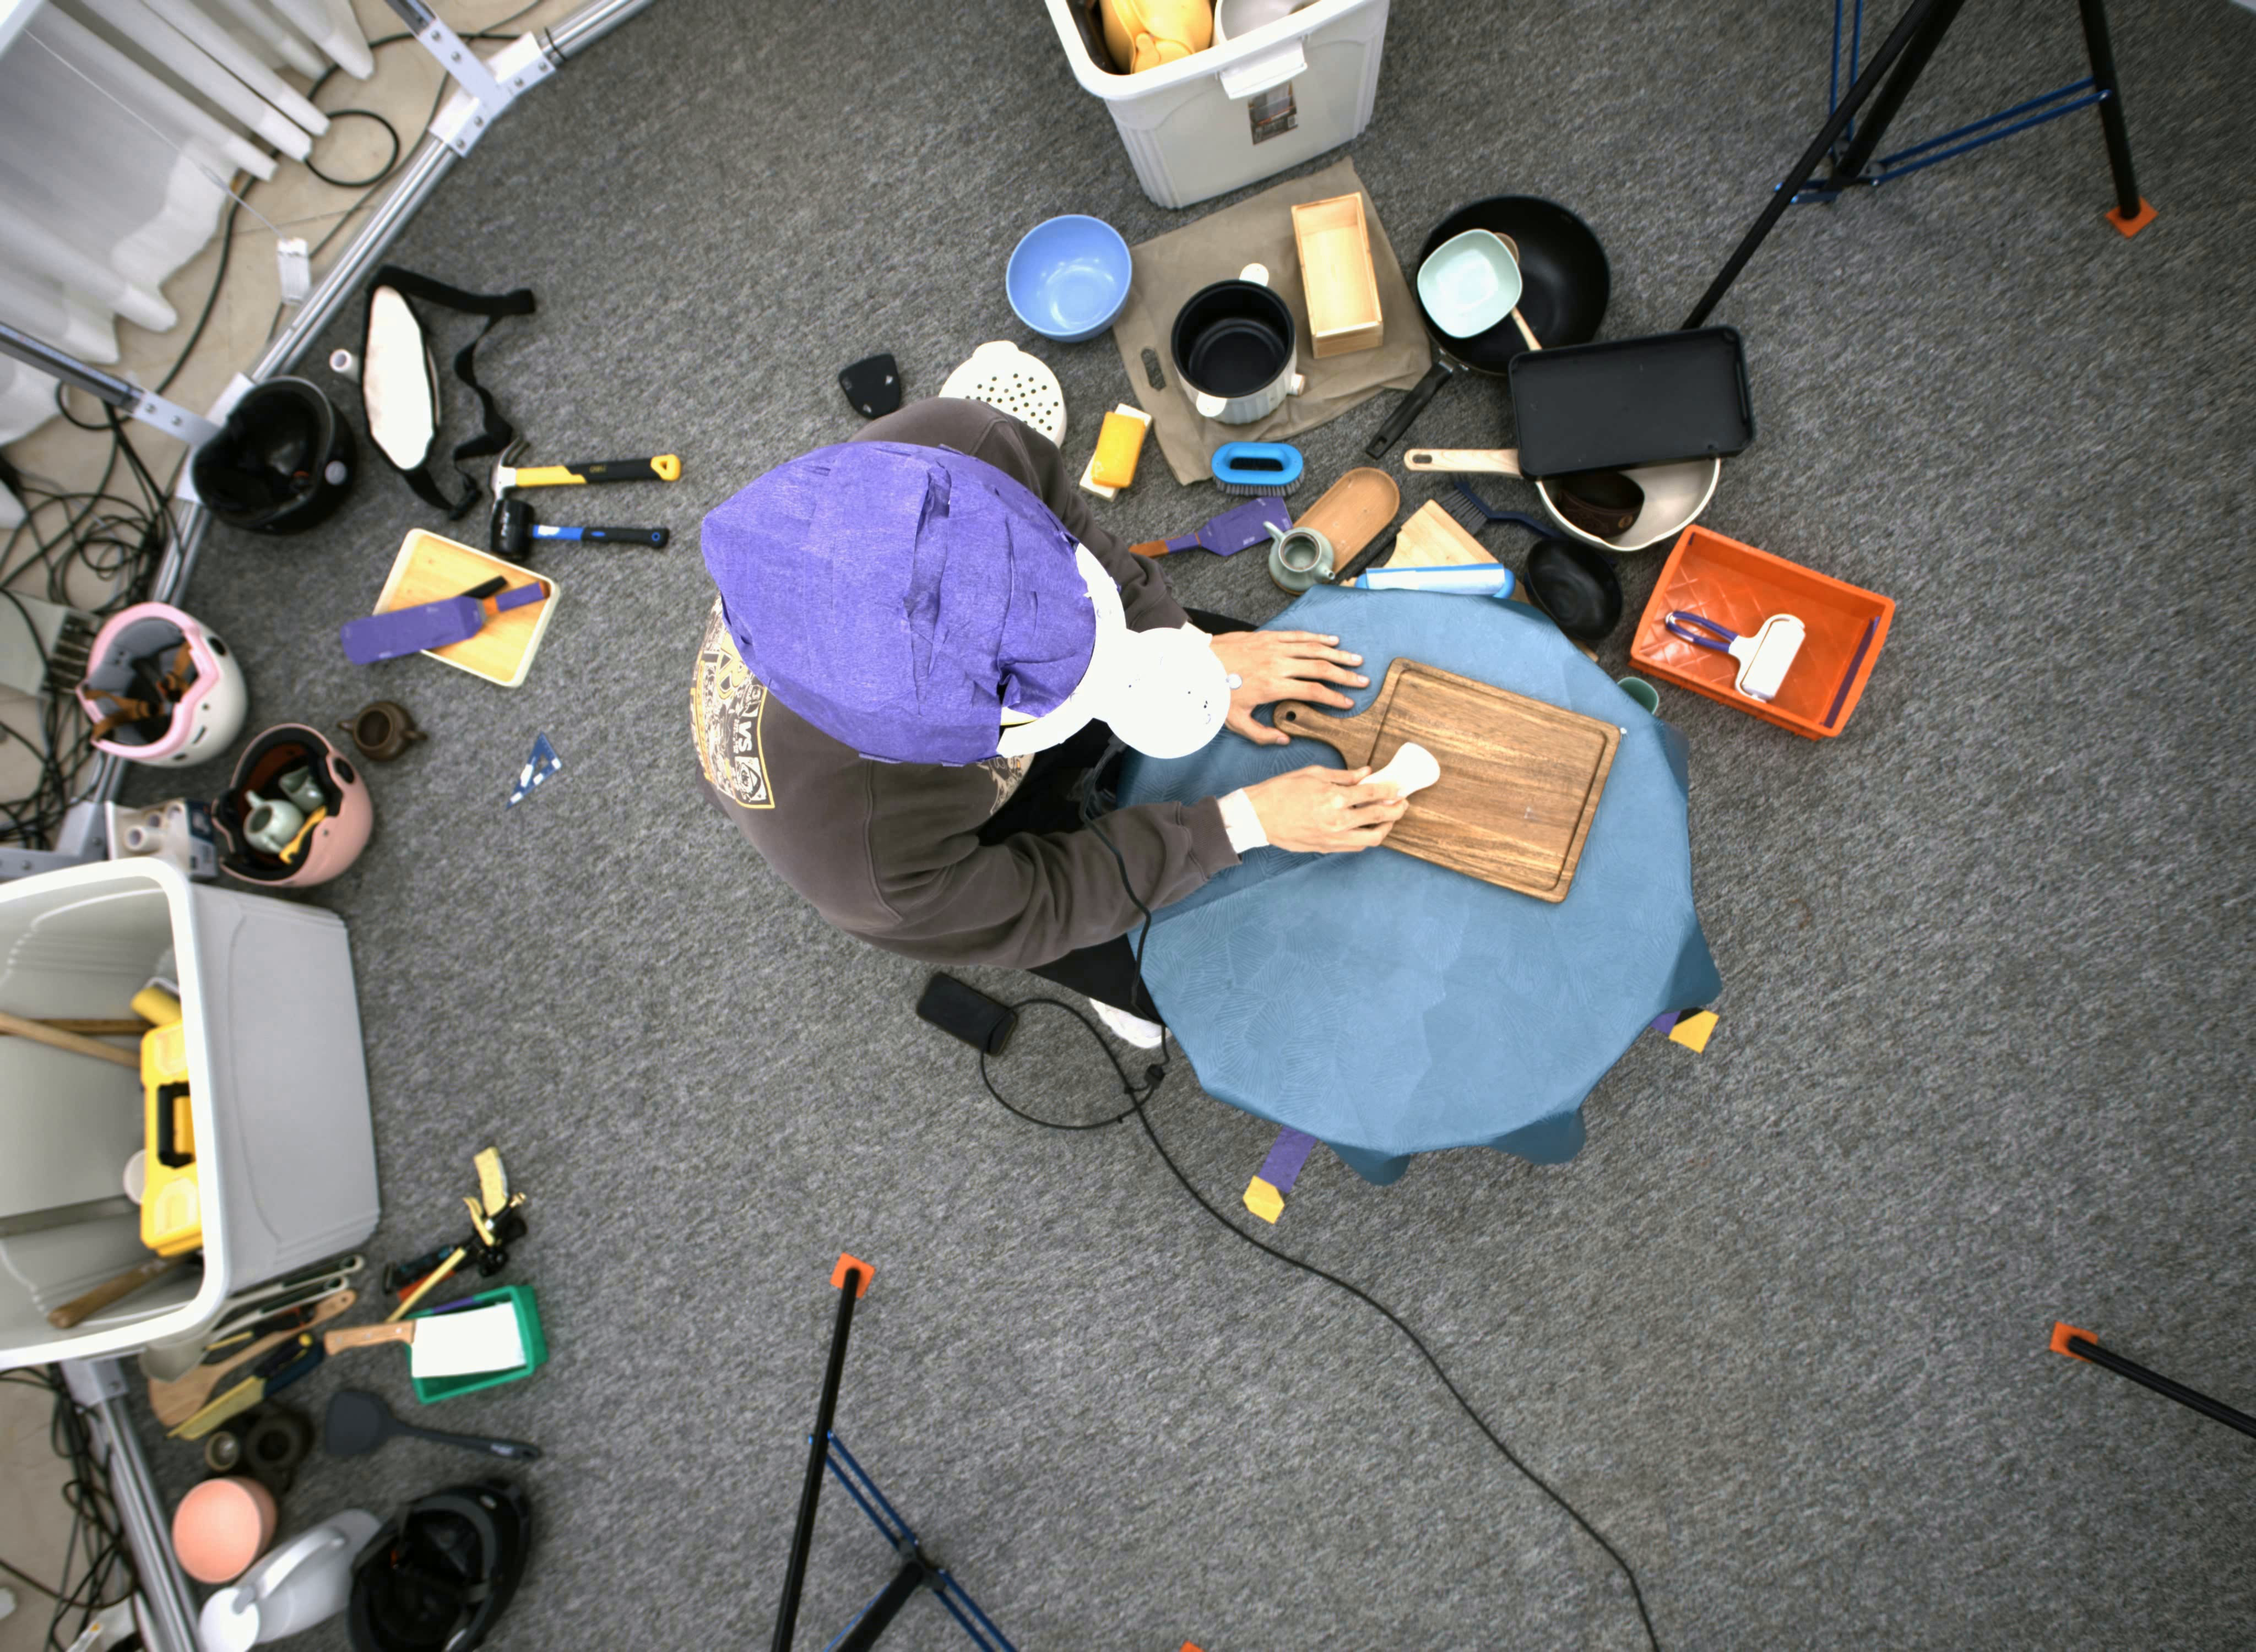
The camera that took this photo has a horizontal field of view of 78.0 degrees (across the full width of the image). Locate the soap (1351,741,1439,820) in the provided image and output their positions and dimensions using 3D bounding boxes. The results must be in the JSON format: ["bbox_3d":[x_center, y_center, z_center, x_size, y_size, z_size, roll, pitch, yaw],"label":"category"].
[{"bbox_3d":[0.278,-0.049,1.432,0.095,0.030,0.050,-38,82,7],"label":"soap"}]

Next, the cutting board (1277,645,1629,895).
[{"bbox_3d":[0.325,-0.079,1.444,0.352,0.023,0.201,20,91,11],"label":"cutting board"}]
